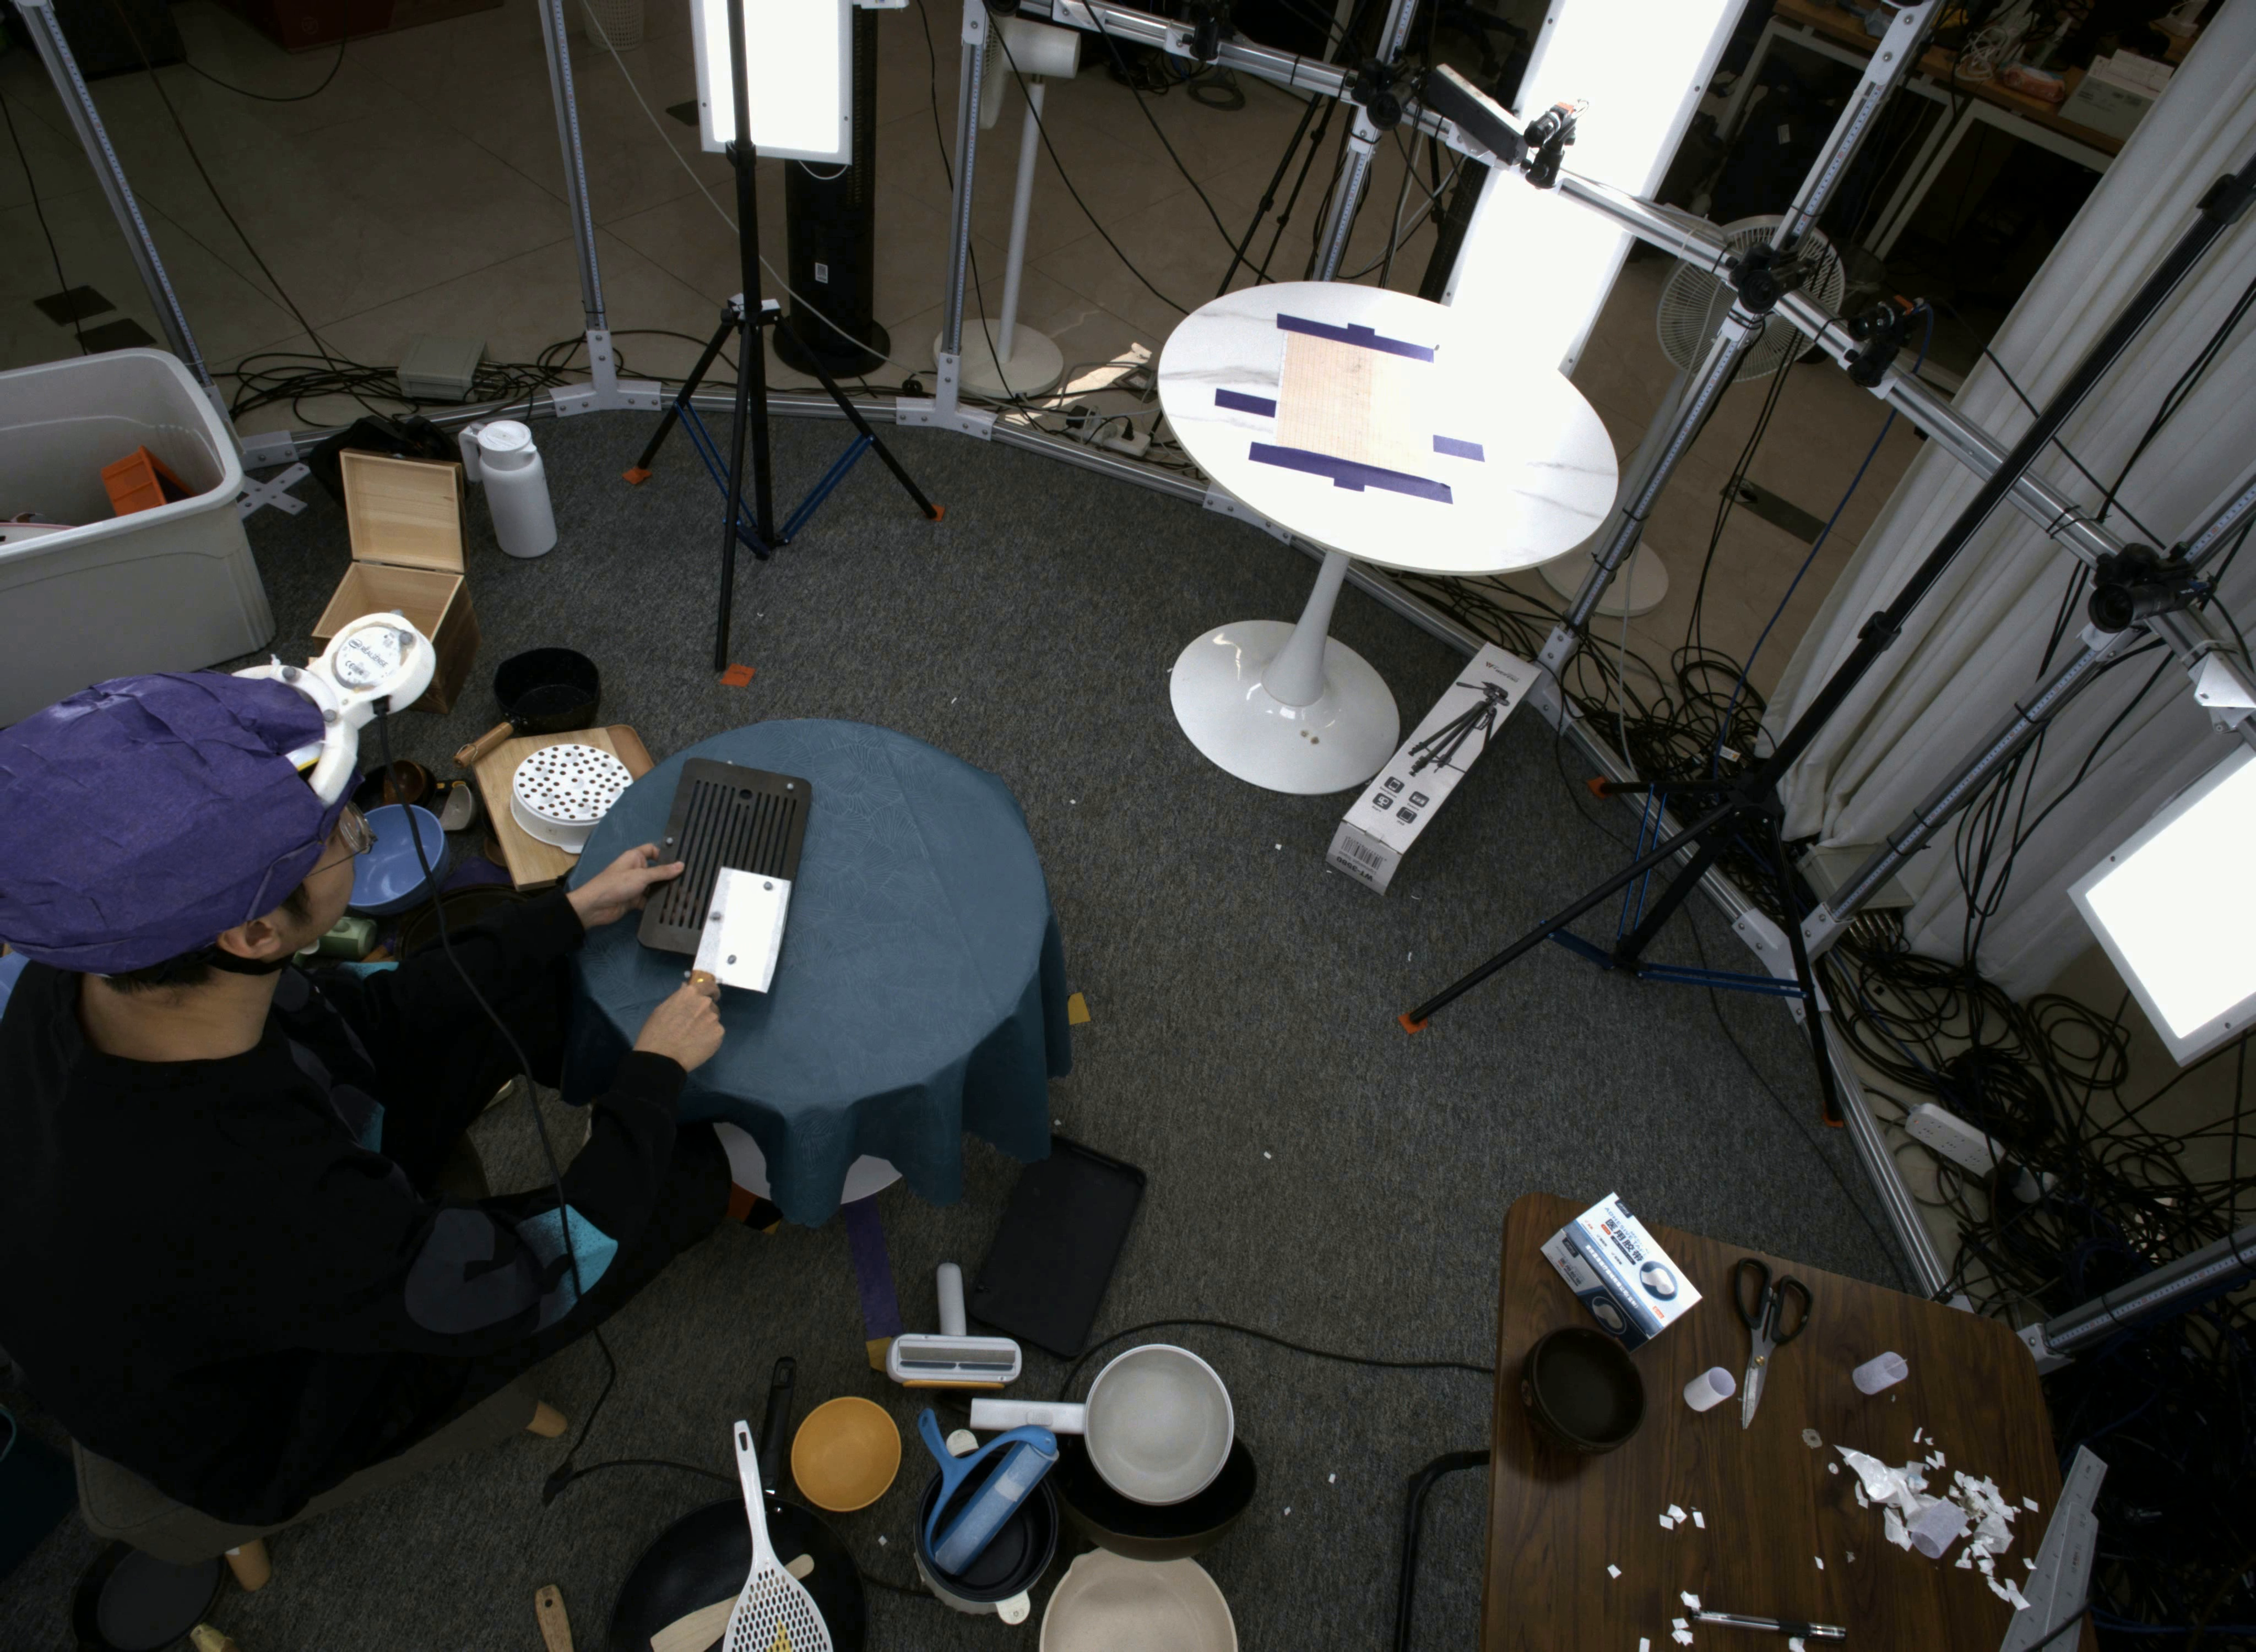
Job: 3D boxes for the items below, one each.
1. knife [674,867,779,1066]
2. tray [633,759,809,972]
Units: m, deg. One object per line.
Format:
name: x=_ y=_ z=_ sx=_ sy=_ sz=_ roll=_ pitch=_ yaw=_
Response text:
knife: x=-0.463 y=0.157 z=1.511 sx=0.094 sy=0.021 sz=0.298 roll=16 pitch=40 yaw=-17
tray: x=-0.509 y=0.045 z=1.628 sx=0.171 sy=0.019 sz=0.300 roll=12 pitch=50 yaw=-16
